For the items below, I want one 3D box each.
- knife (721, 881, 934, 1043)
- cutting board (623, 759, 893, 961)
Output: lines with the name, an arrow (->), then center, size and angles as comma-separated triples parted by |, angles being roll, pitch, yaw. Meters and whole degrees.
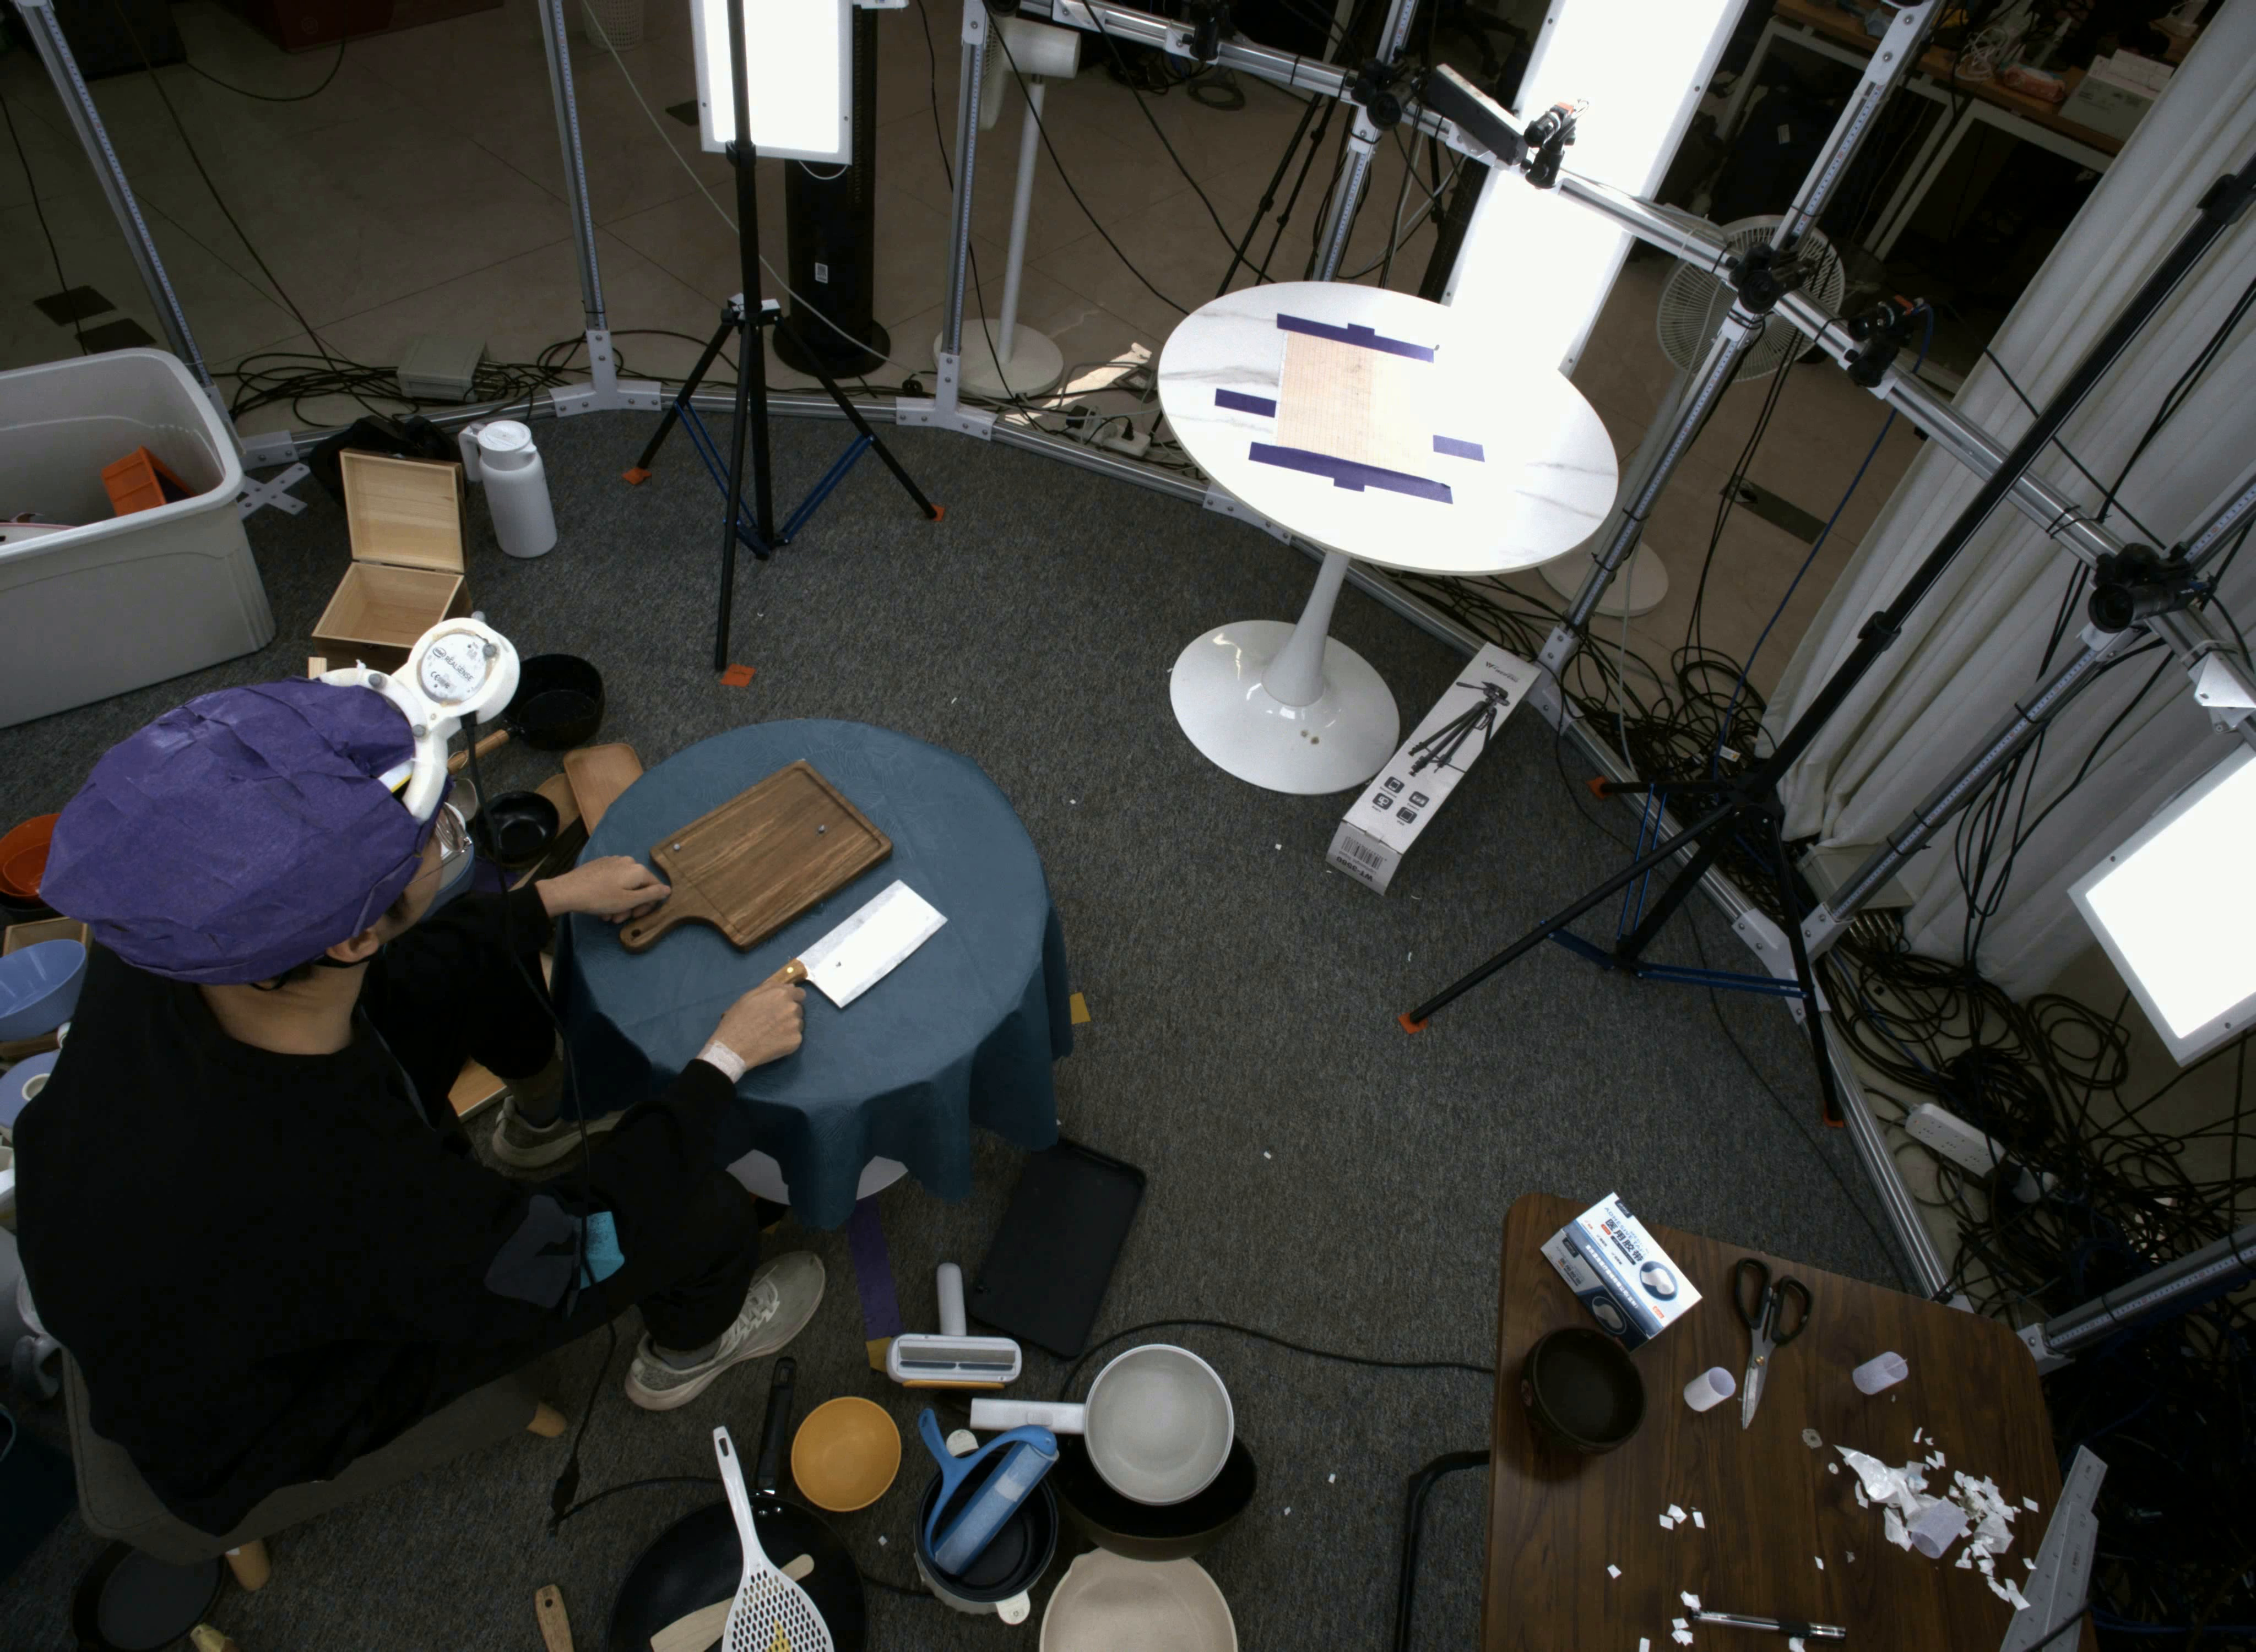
knife -> -0.357, 0.173, 1.592 | 0.091, 0.021, 0.306 | 39, 51, 12
cutting board -> -0.491, 0.057, 1.639 | 0.197, 0.023, 0.353 | 41, 54, 16
